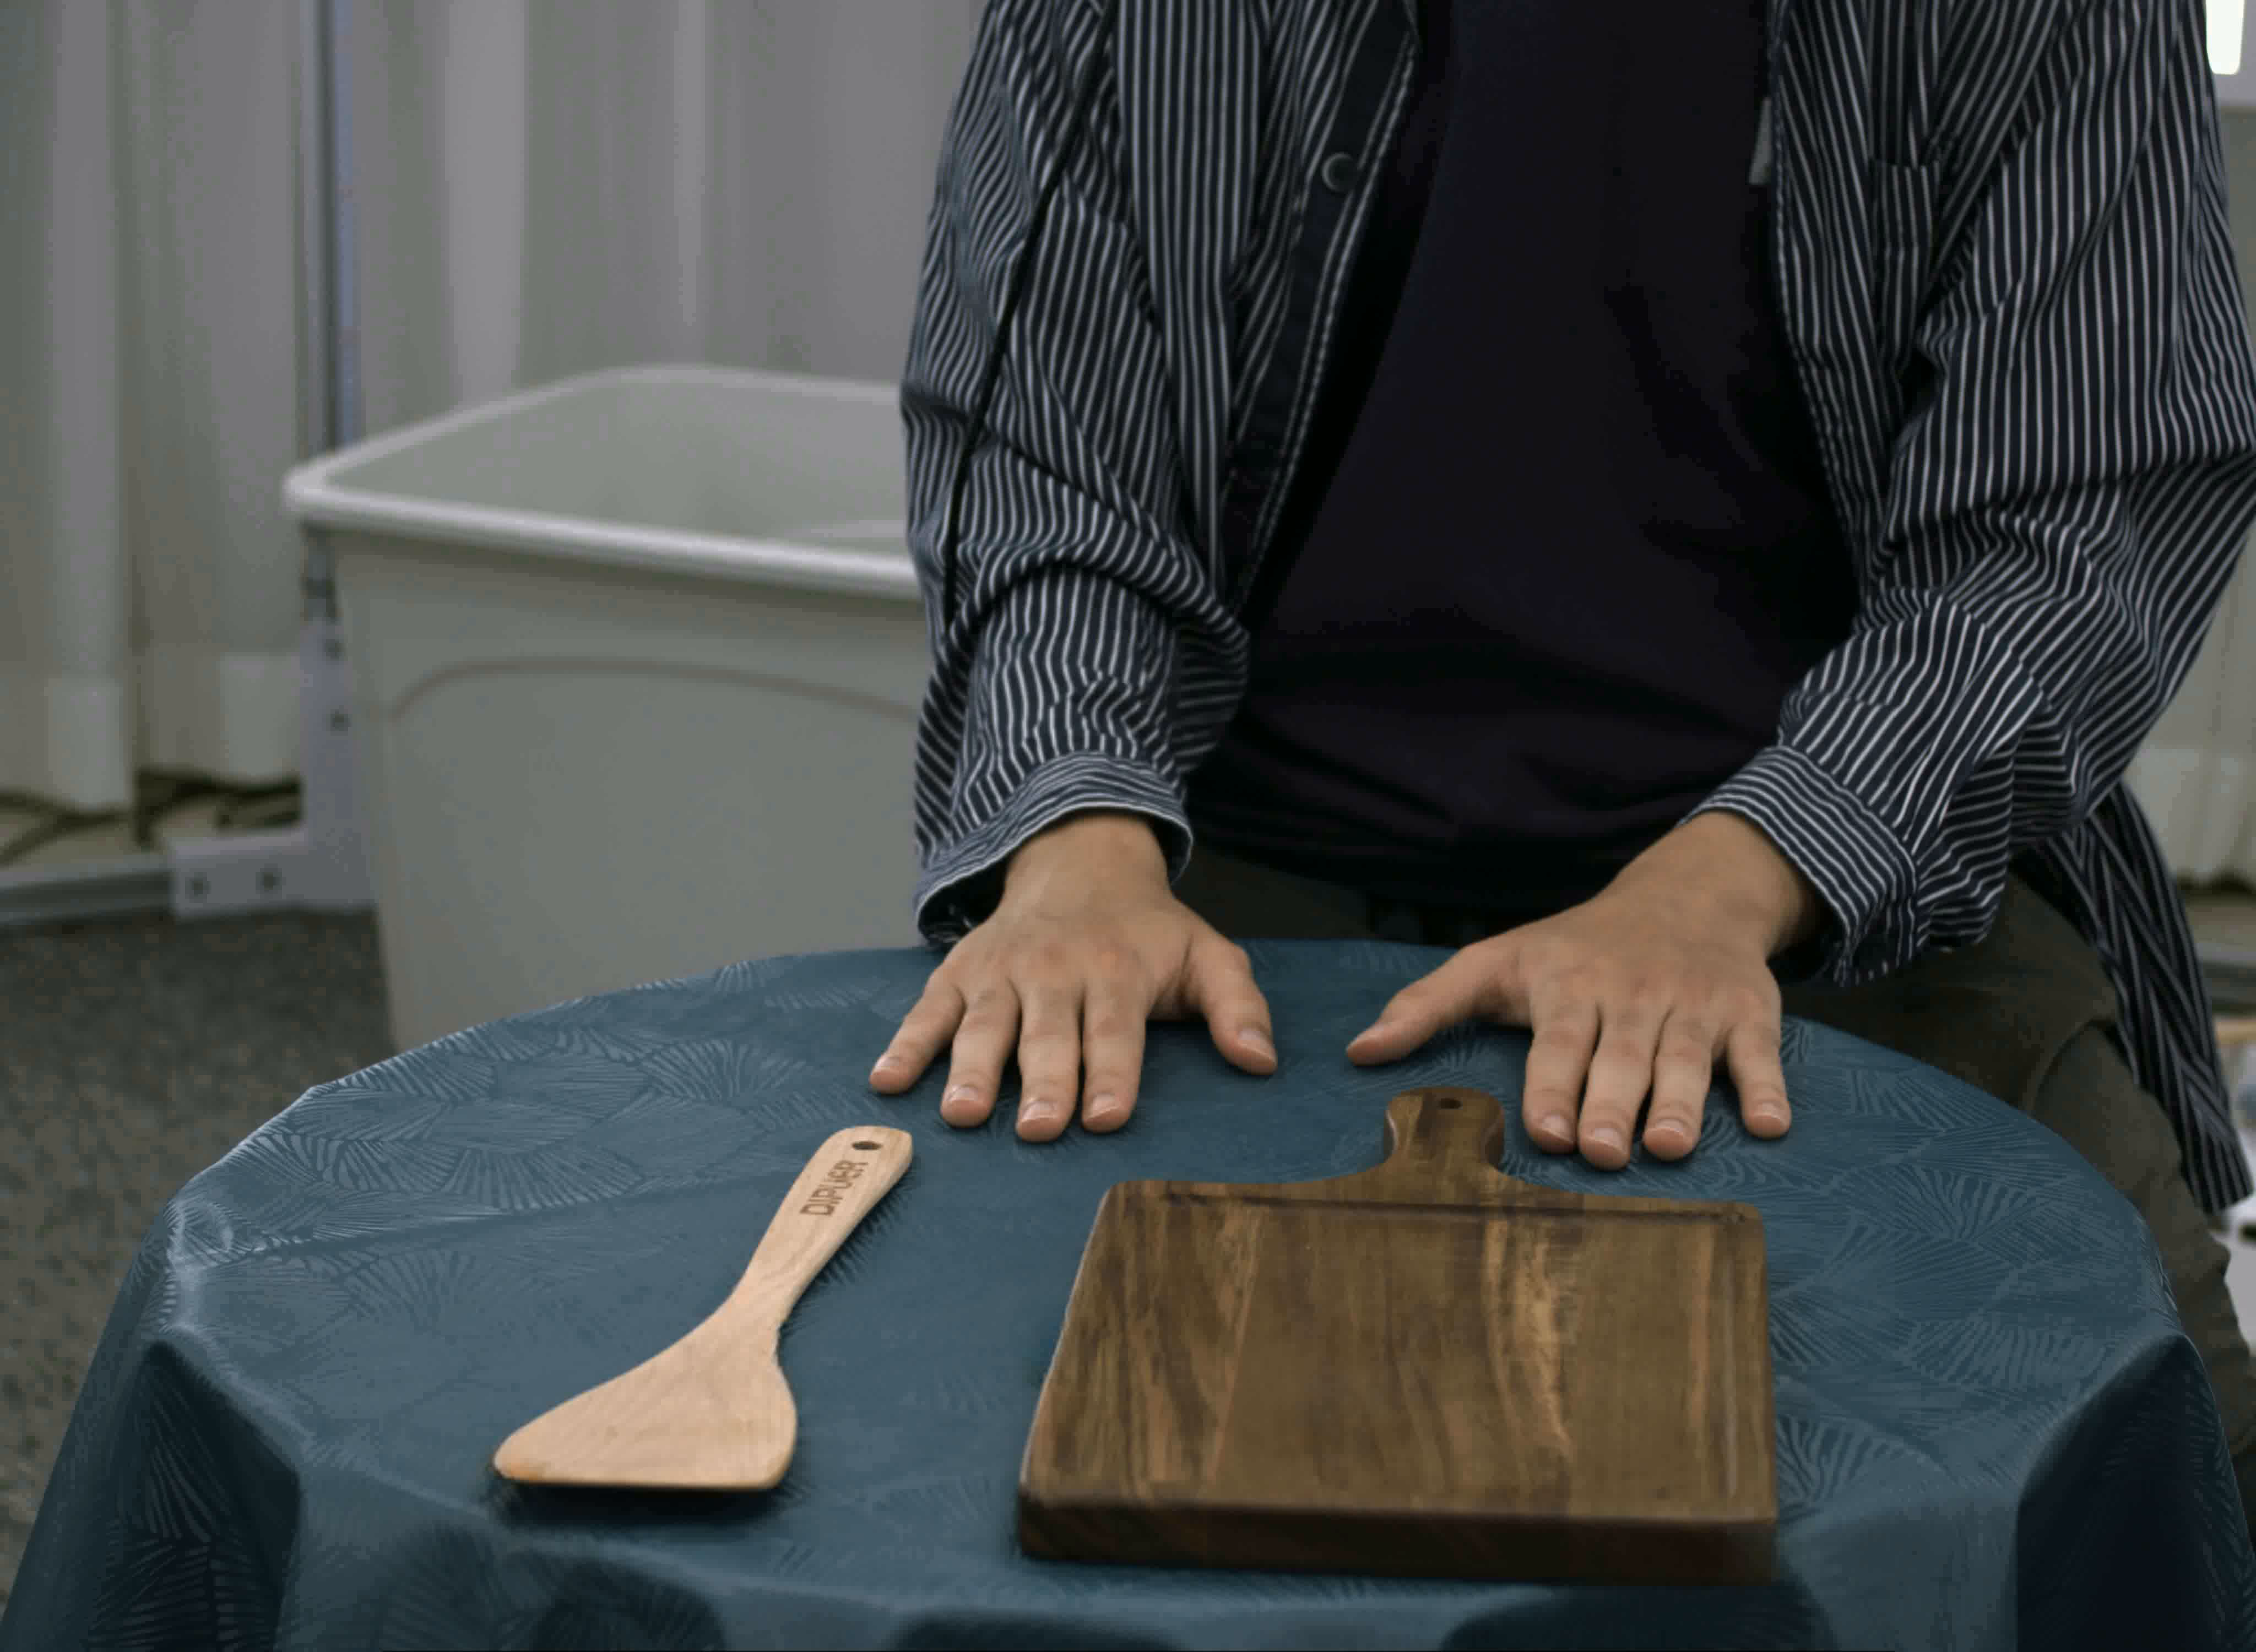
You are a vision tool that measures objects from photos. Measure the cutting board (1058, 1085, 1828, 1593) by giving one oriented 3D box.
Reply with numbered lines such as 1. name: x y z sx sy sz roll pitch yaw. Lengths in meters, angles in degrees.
1. cutting board: 0.096 0.137 1.502 0.200 0.023 0.351 2 15 6

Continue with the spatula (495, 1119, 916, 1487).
1. spatula: -0.103 0.134 1.516 0.079 0.016 0.327 4 16 9
